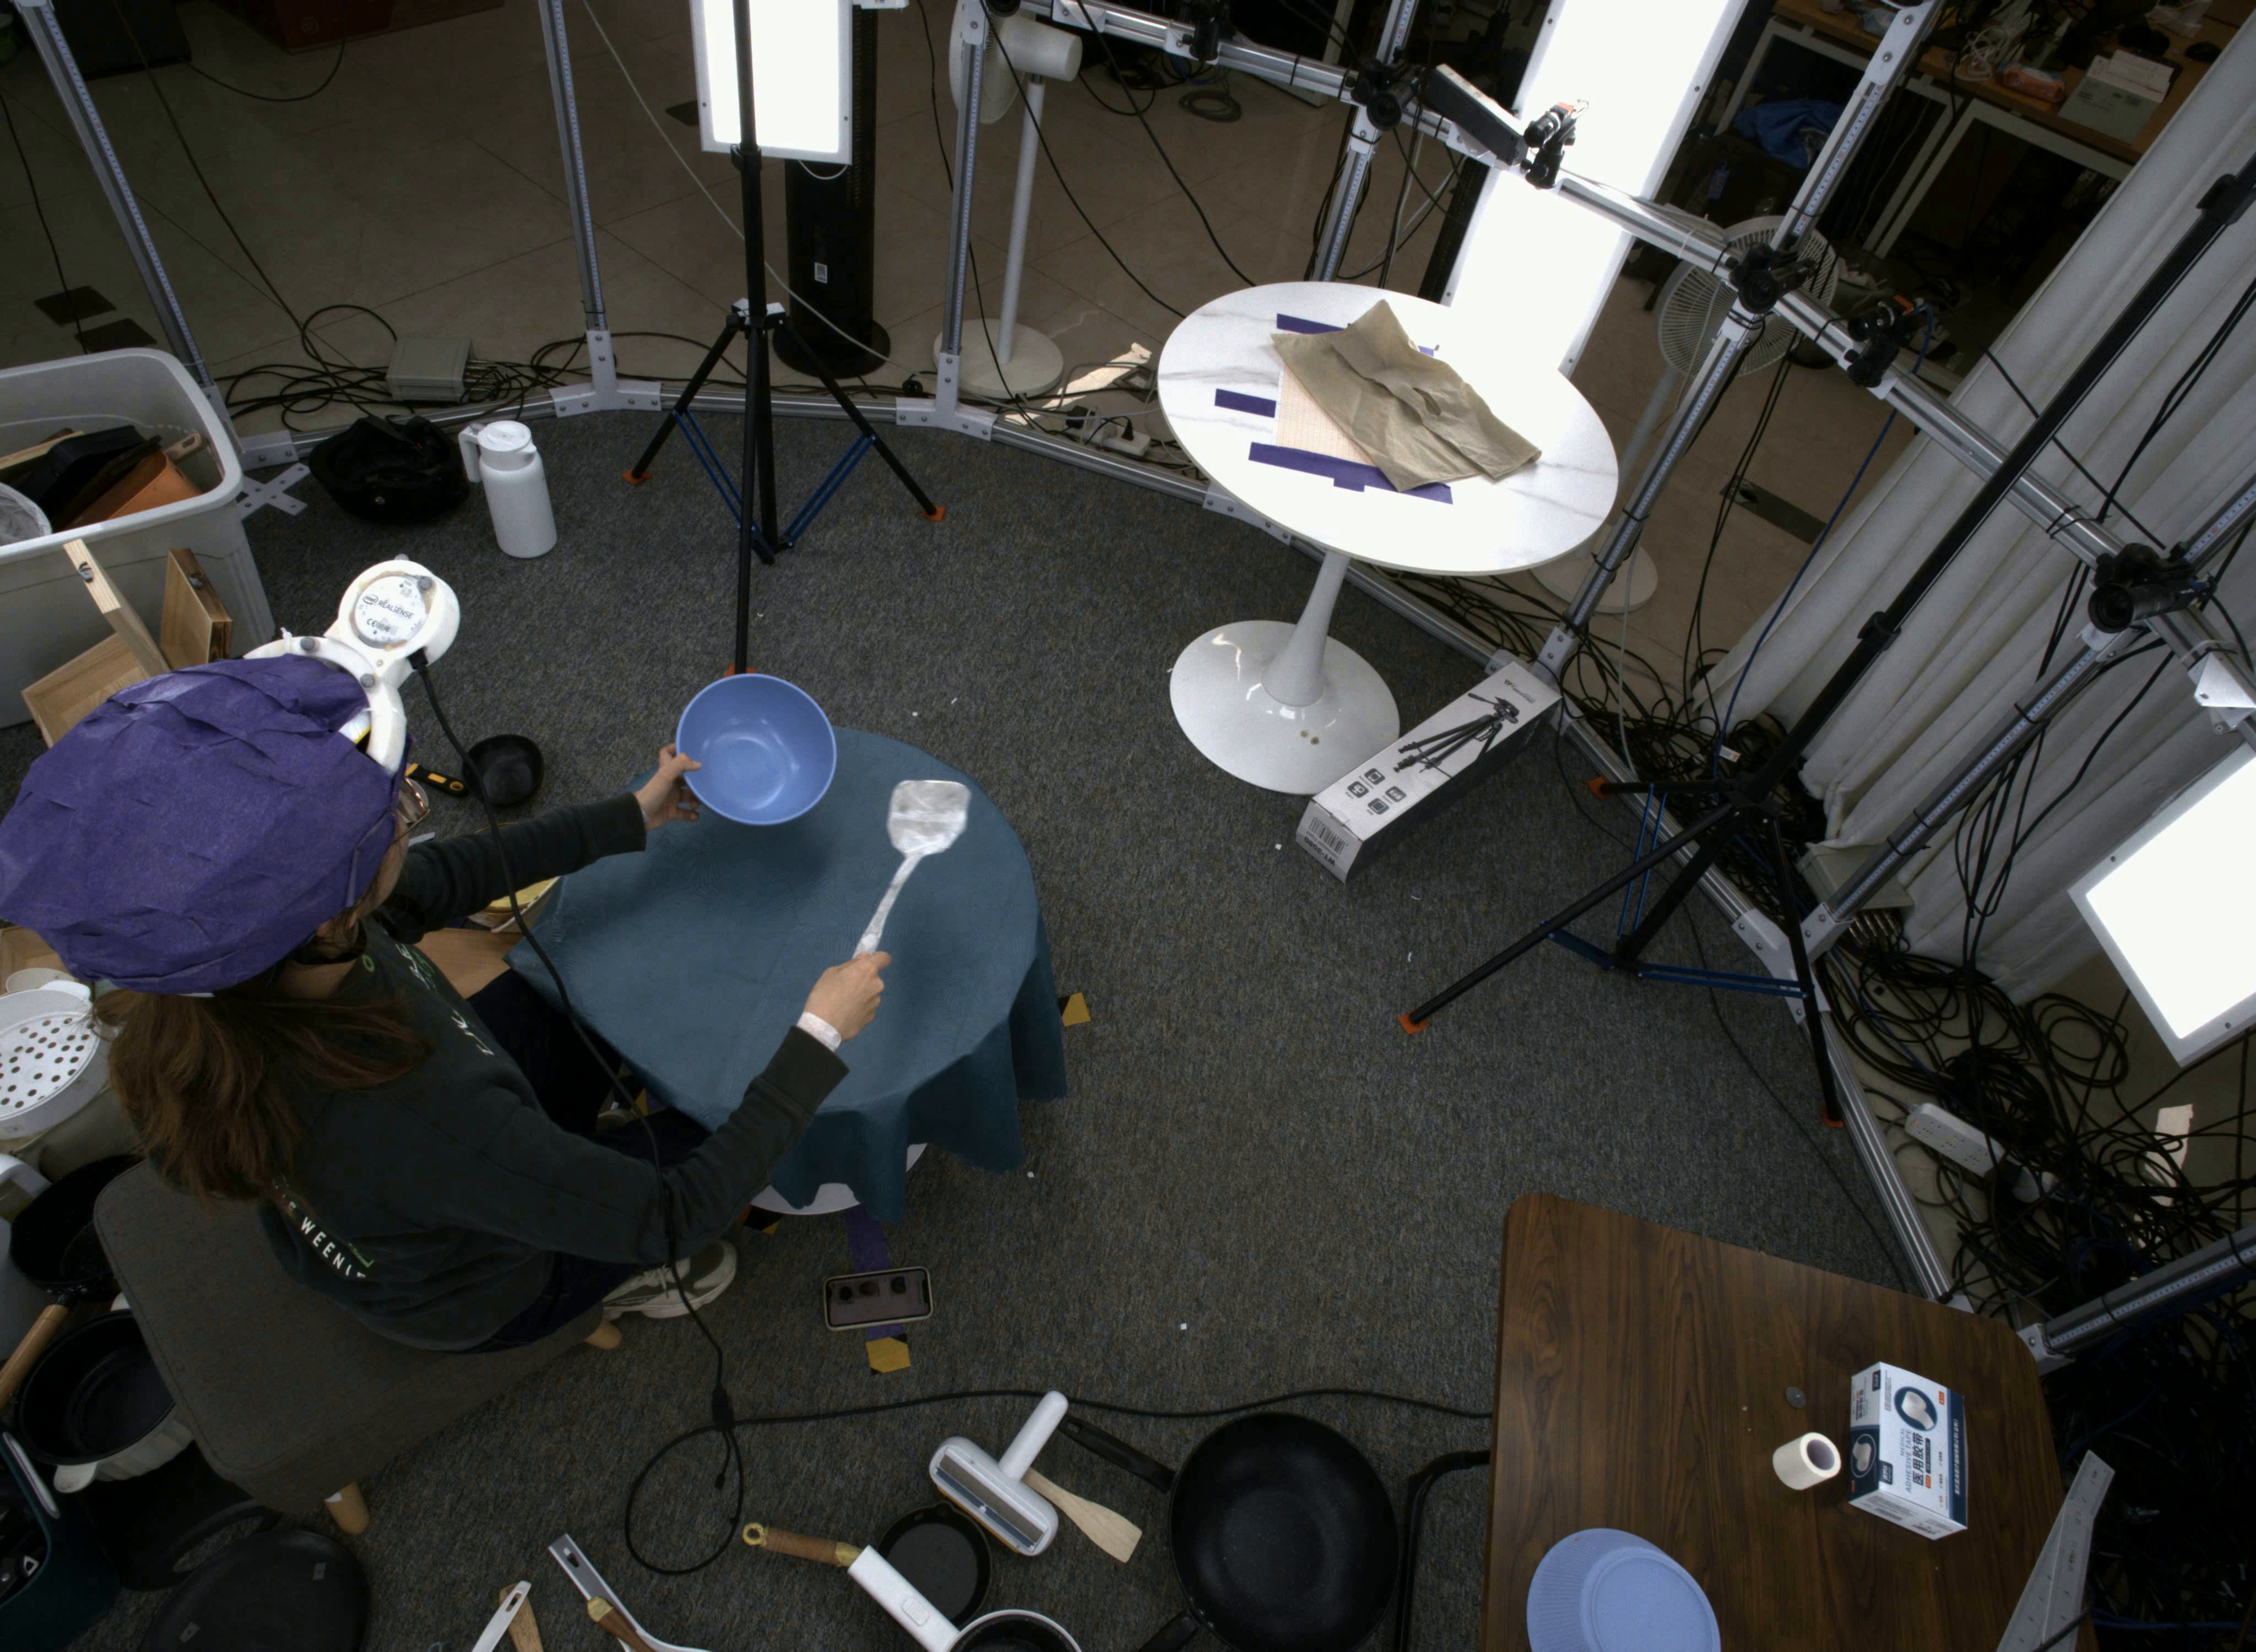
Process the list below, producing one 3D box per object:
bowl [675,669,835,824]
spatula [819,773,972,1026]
[{"bbox_3d":[-0.476,-0.087,1.632,0.199,0.094,0.195,10,70,-24],"label":"bowl"},{"bbox_3d":[-0.272,0.072,1.469,0.096,0.046,0.360,8,44,11],"label":"spatula"}]
